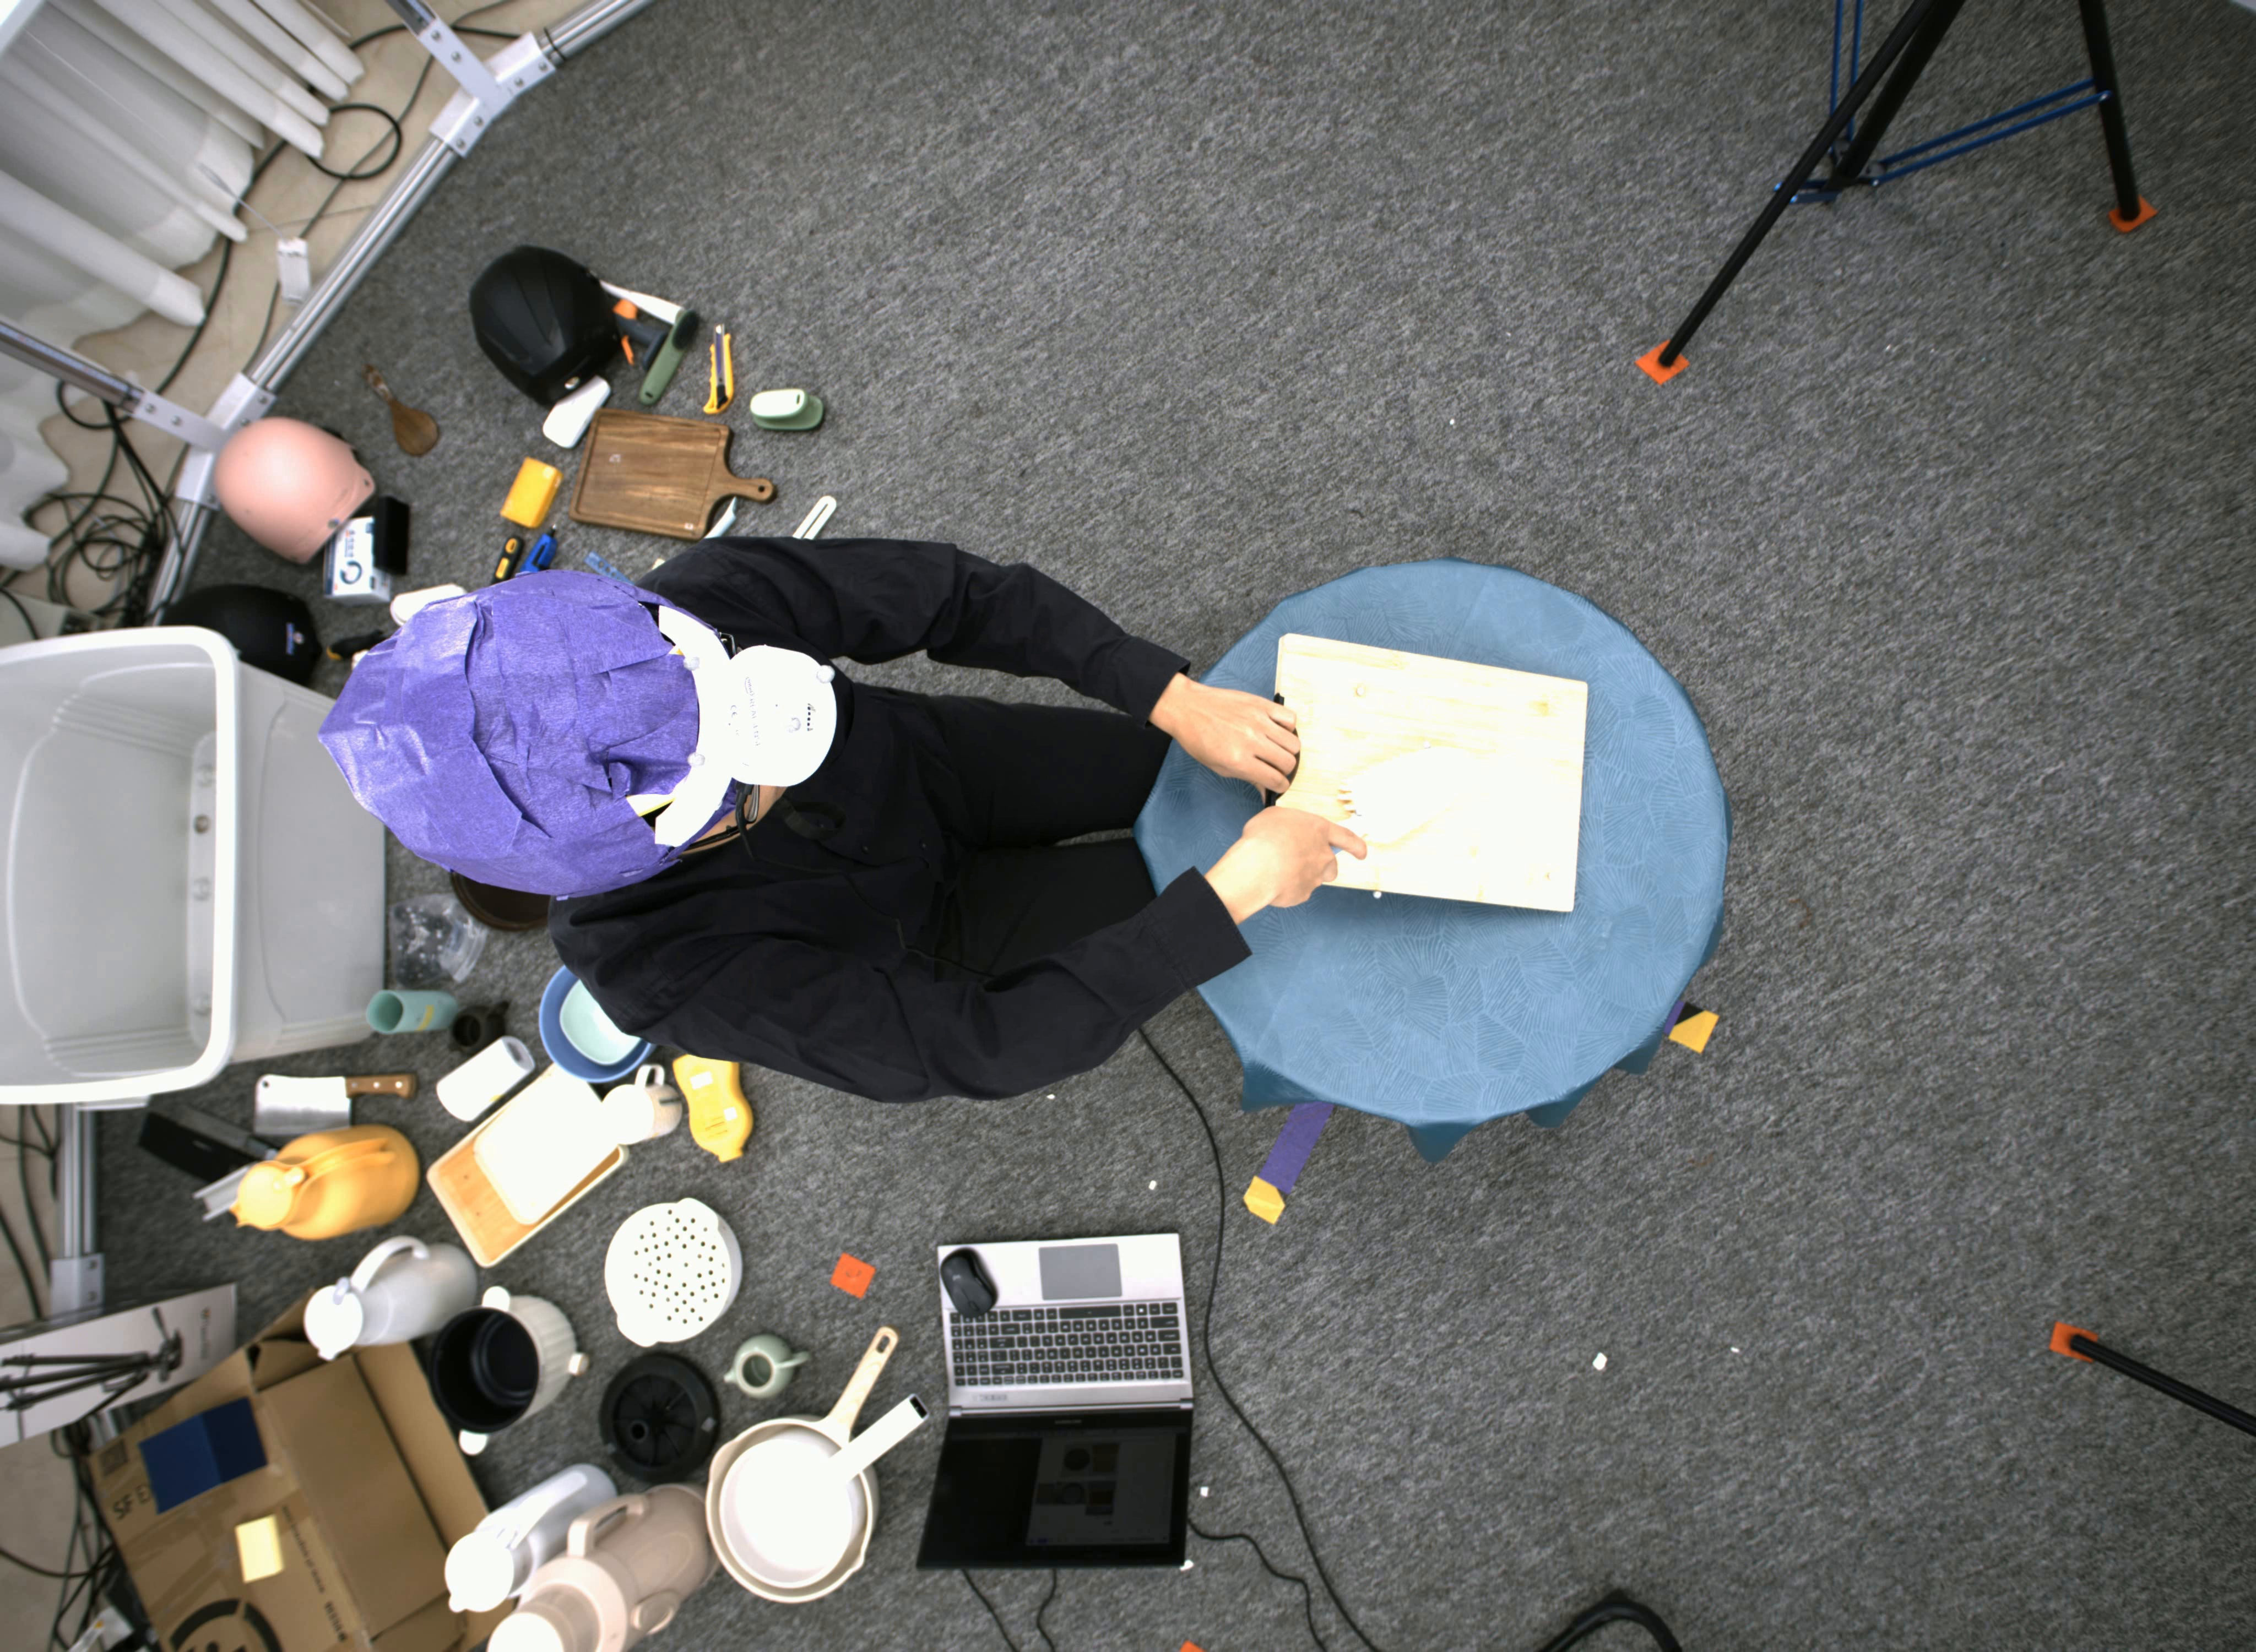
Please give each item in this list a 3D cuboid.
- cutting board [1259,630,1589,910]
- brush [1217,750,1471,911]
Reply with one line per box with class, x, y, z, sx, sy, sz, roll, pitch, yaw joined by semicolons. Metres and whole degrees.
cutting board;0.302;-0.054;1.379;0.348;0.024;0.250;5;87;-14
brush;0.191;0.001;1.296;0.320;0.087;0.082;-28;58;-27
